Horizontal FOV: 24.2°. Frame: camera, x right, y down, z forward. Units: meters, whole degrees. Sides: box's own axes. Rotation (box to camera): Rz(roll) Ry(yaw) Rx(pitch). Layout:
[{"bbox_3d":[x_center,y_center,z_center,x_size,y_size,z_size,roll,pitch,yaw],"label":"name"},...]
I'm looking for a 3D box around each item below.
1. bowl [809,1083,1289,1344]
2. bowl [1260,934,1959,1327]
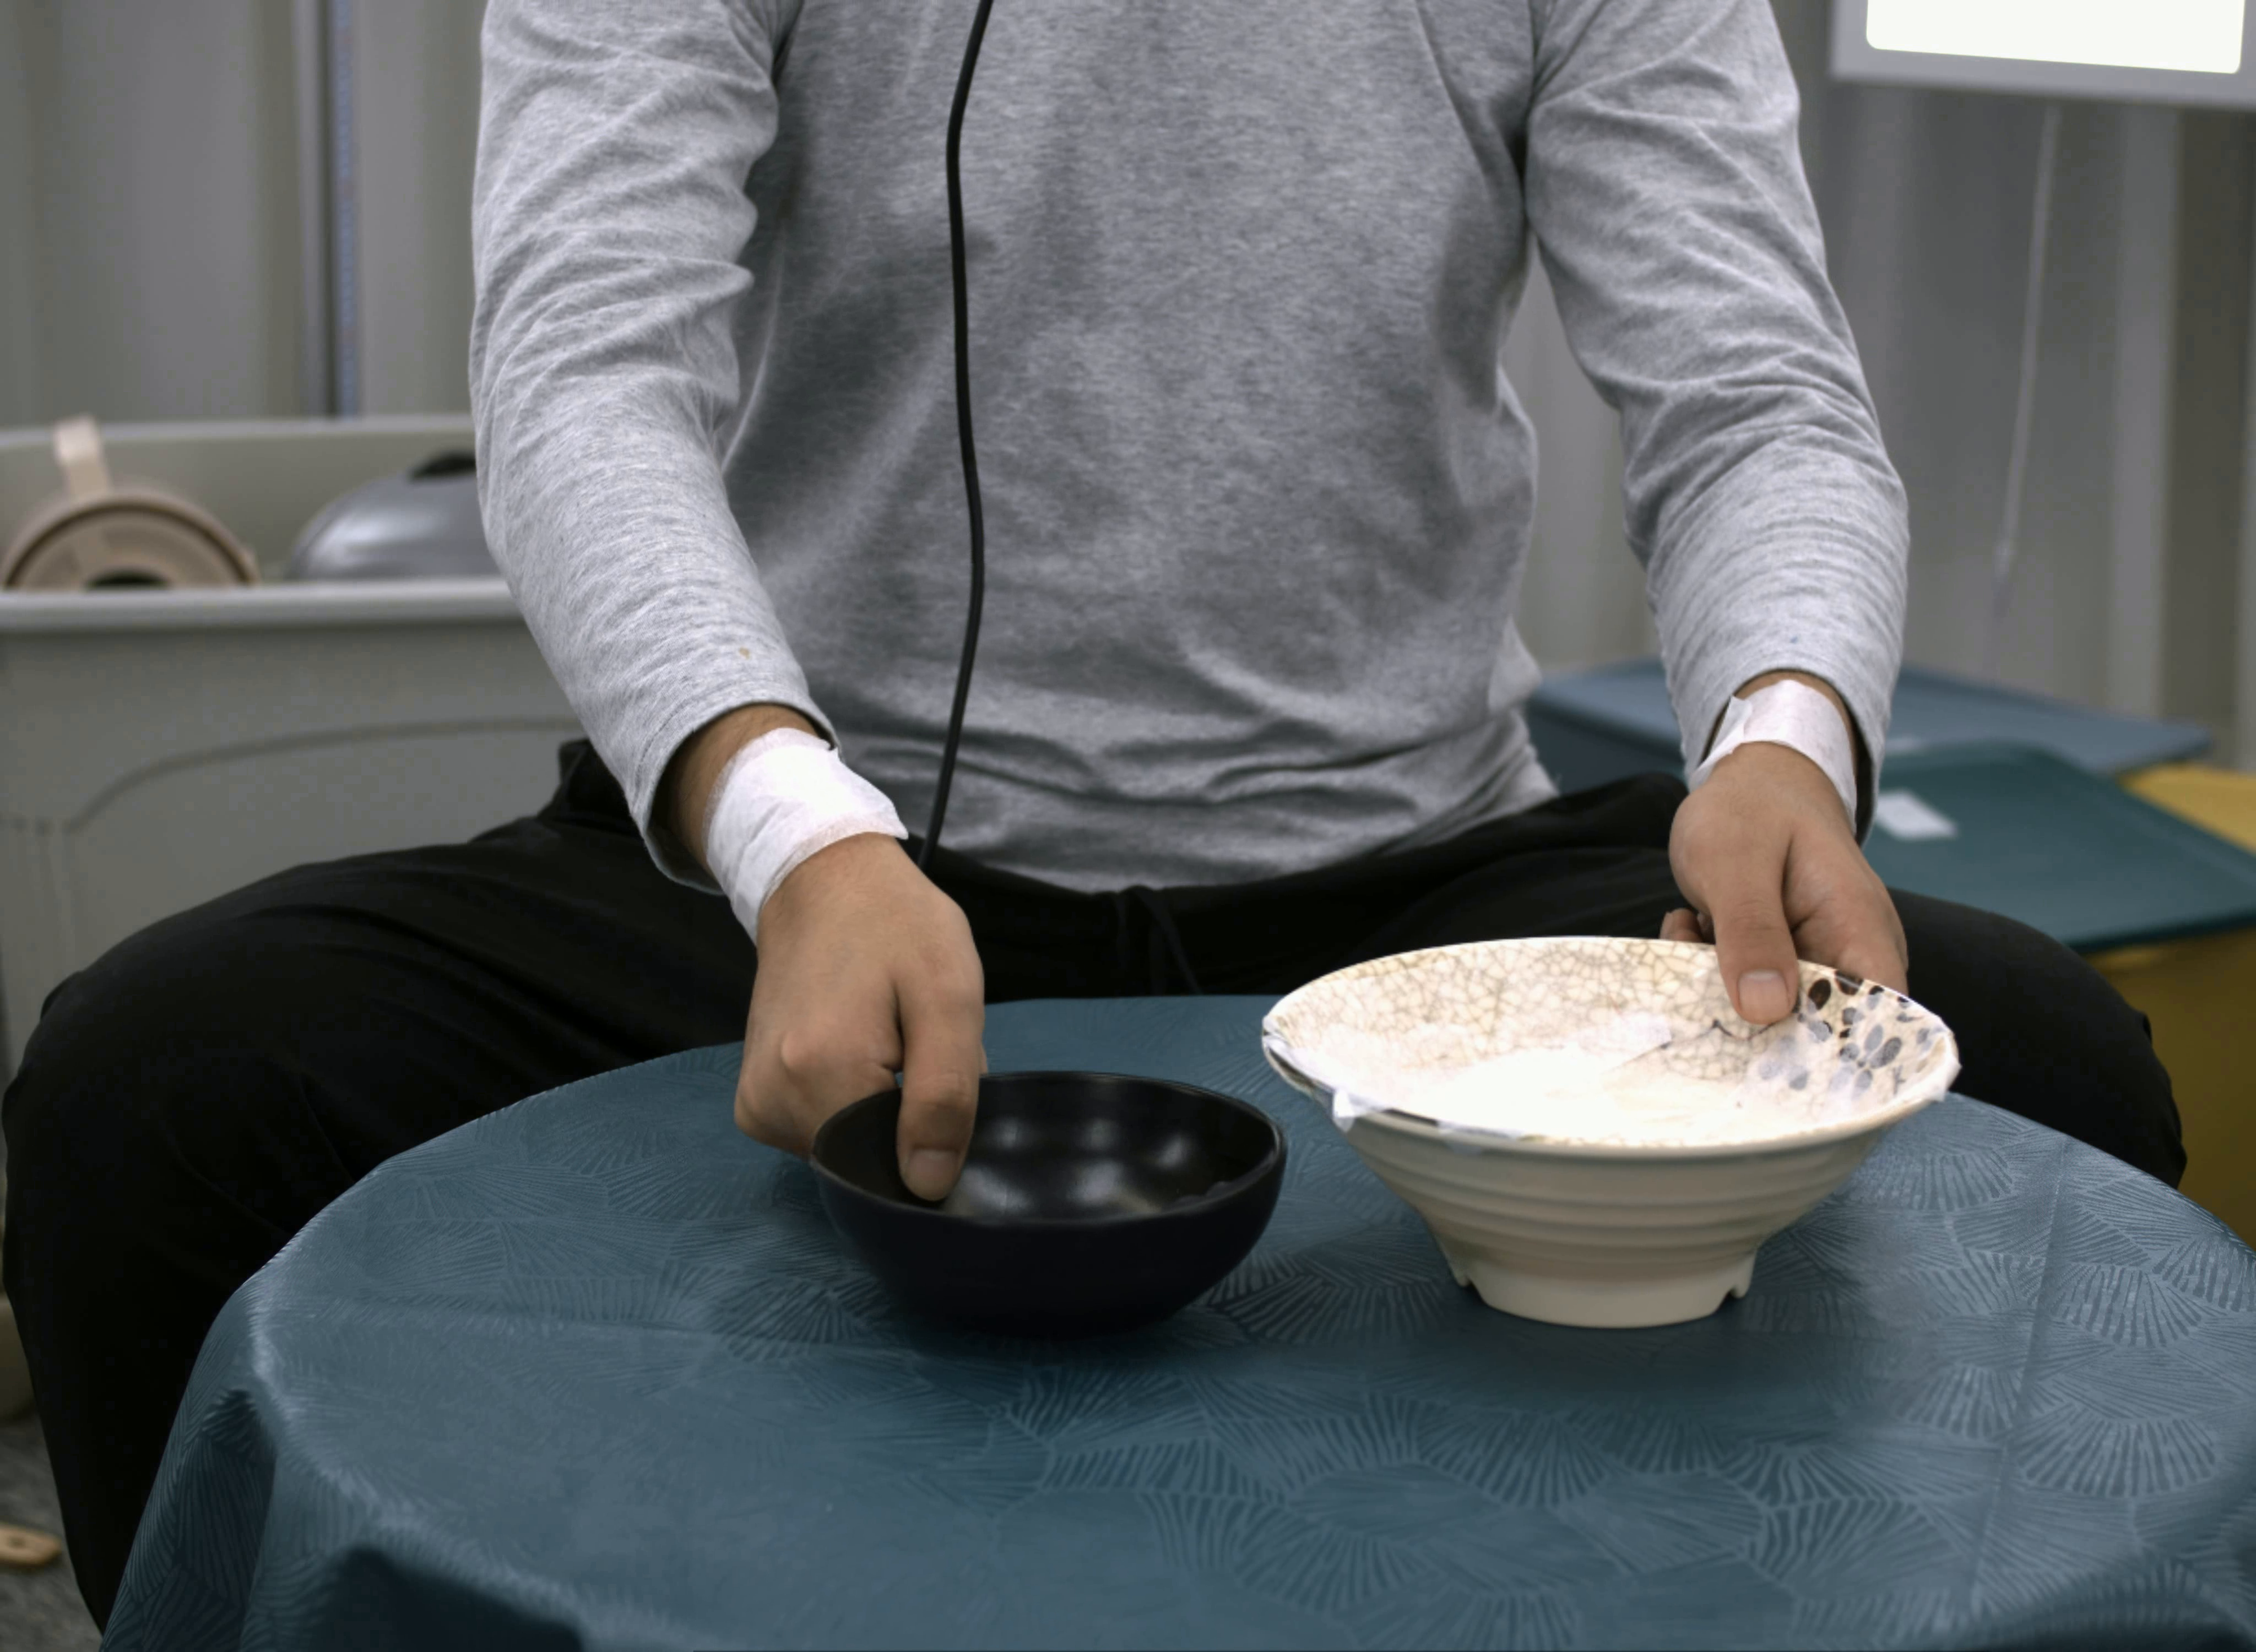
[{"bbox_3d":[-0.023,0.116,1.526,0.139,0.050,0.139,2,13,0],"label":"bowl"},{"bbox_3d":[0.139,0.096,1.542,0.203,0.078,0.203,1,15,0],"label":"bowl"}]
